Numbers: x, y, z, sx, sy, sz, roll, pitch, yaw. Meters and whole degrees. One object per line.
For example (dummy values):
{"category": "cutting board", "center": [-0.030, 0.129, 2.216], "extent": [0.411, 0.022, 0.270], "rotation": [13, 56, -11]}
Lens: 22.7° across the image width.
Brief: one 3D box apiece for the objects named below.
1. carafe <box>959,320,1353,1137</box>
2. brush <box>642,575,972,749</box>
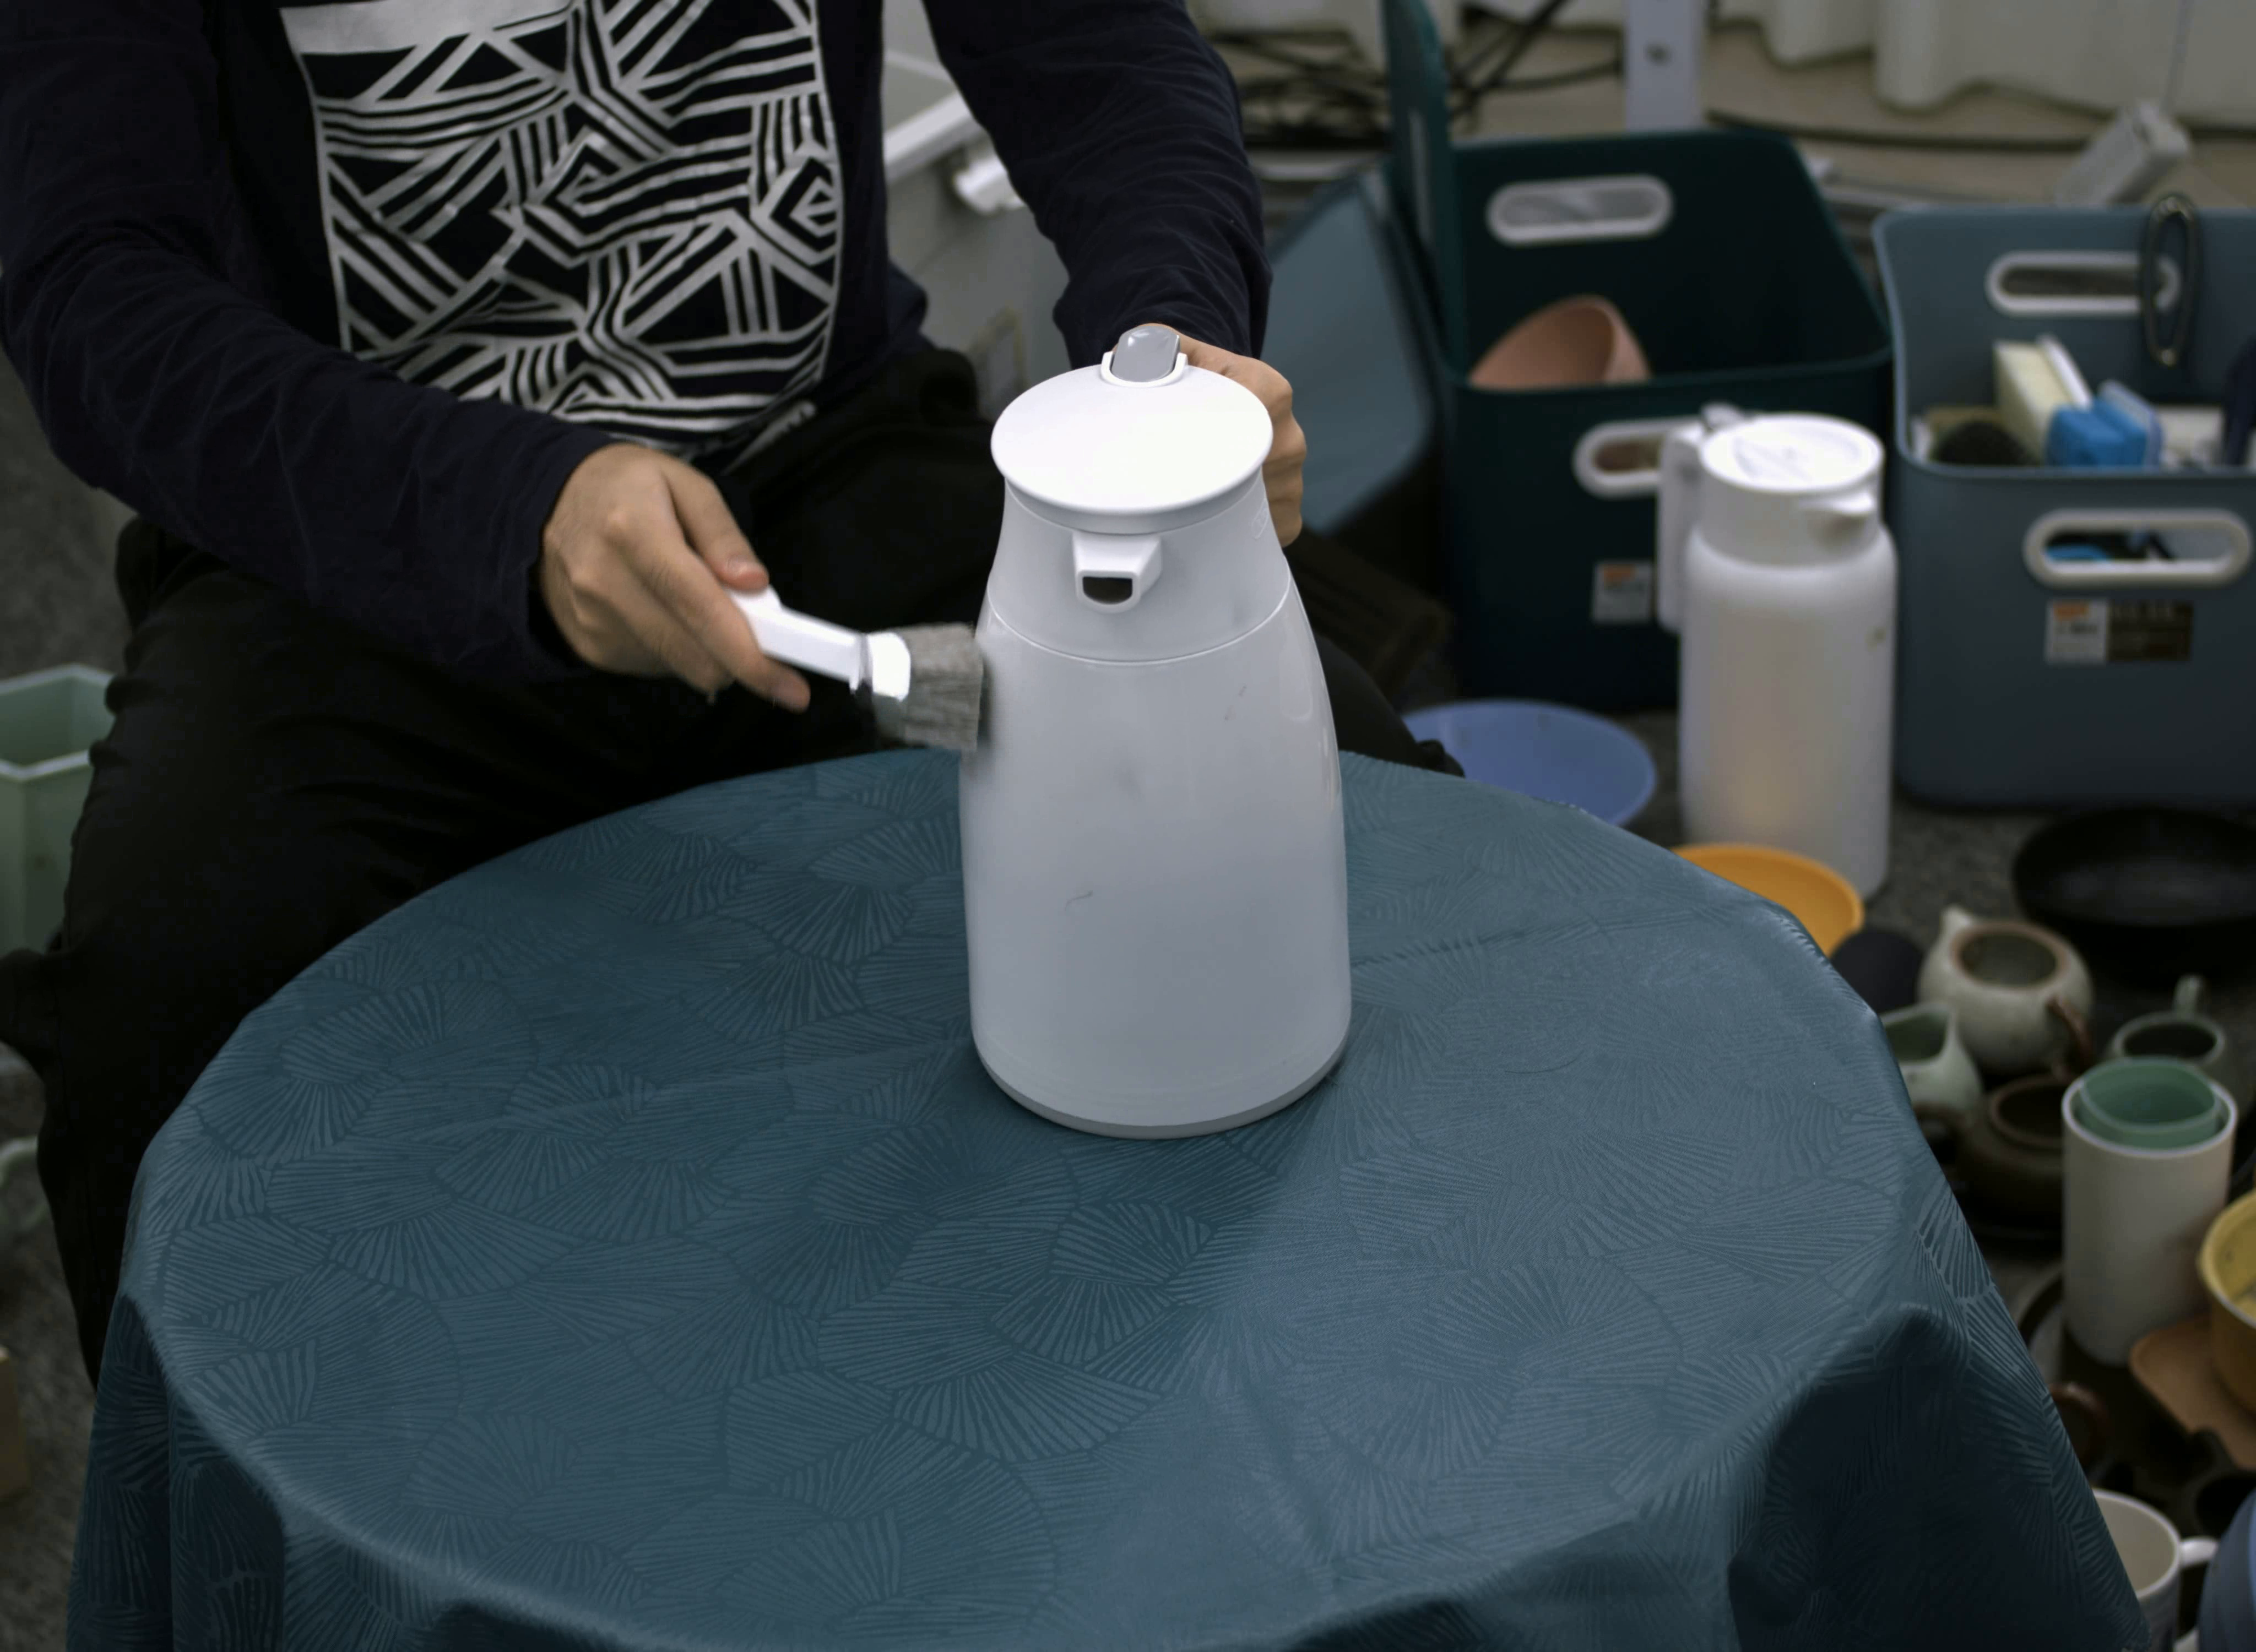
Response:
{"category": "carafe", "center": [0.007, -0.044, 1.890], "extent": [0.132, 0.245, 0.171], "rotation": [1, 34, 7]}
{"category": "brush", "center": [-0.107, -0.061, 1.929], "extent": [0.050, 0.034, 0.243], "rotation": [-6, 12, -24]}
